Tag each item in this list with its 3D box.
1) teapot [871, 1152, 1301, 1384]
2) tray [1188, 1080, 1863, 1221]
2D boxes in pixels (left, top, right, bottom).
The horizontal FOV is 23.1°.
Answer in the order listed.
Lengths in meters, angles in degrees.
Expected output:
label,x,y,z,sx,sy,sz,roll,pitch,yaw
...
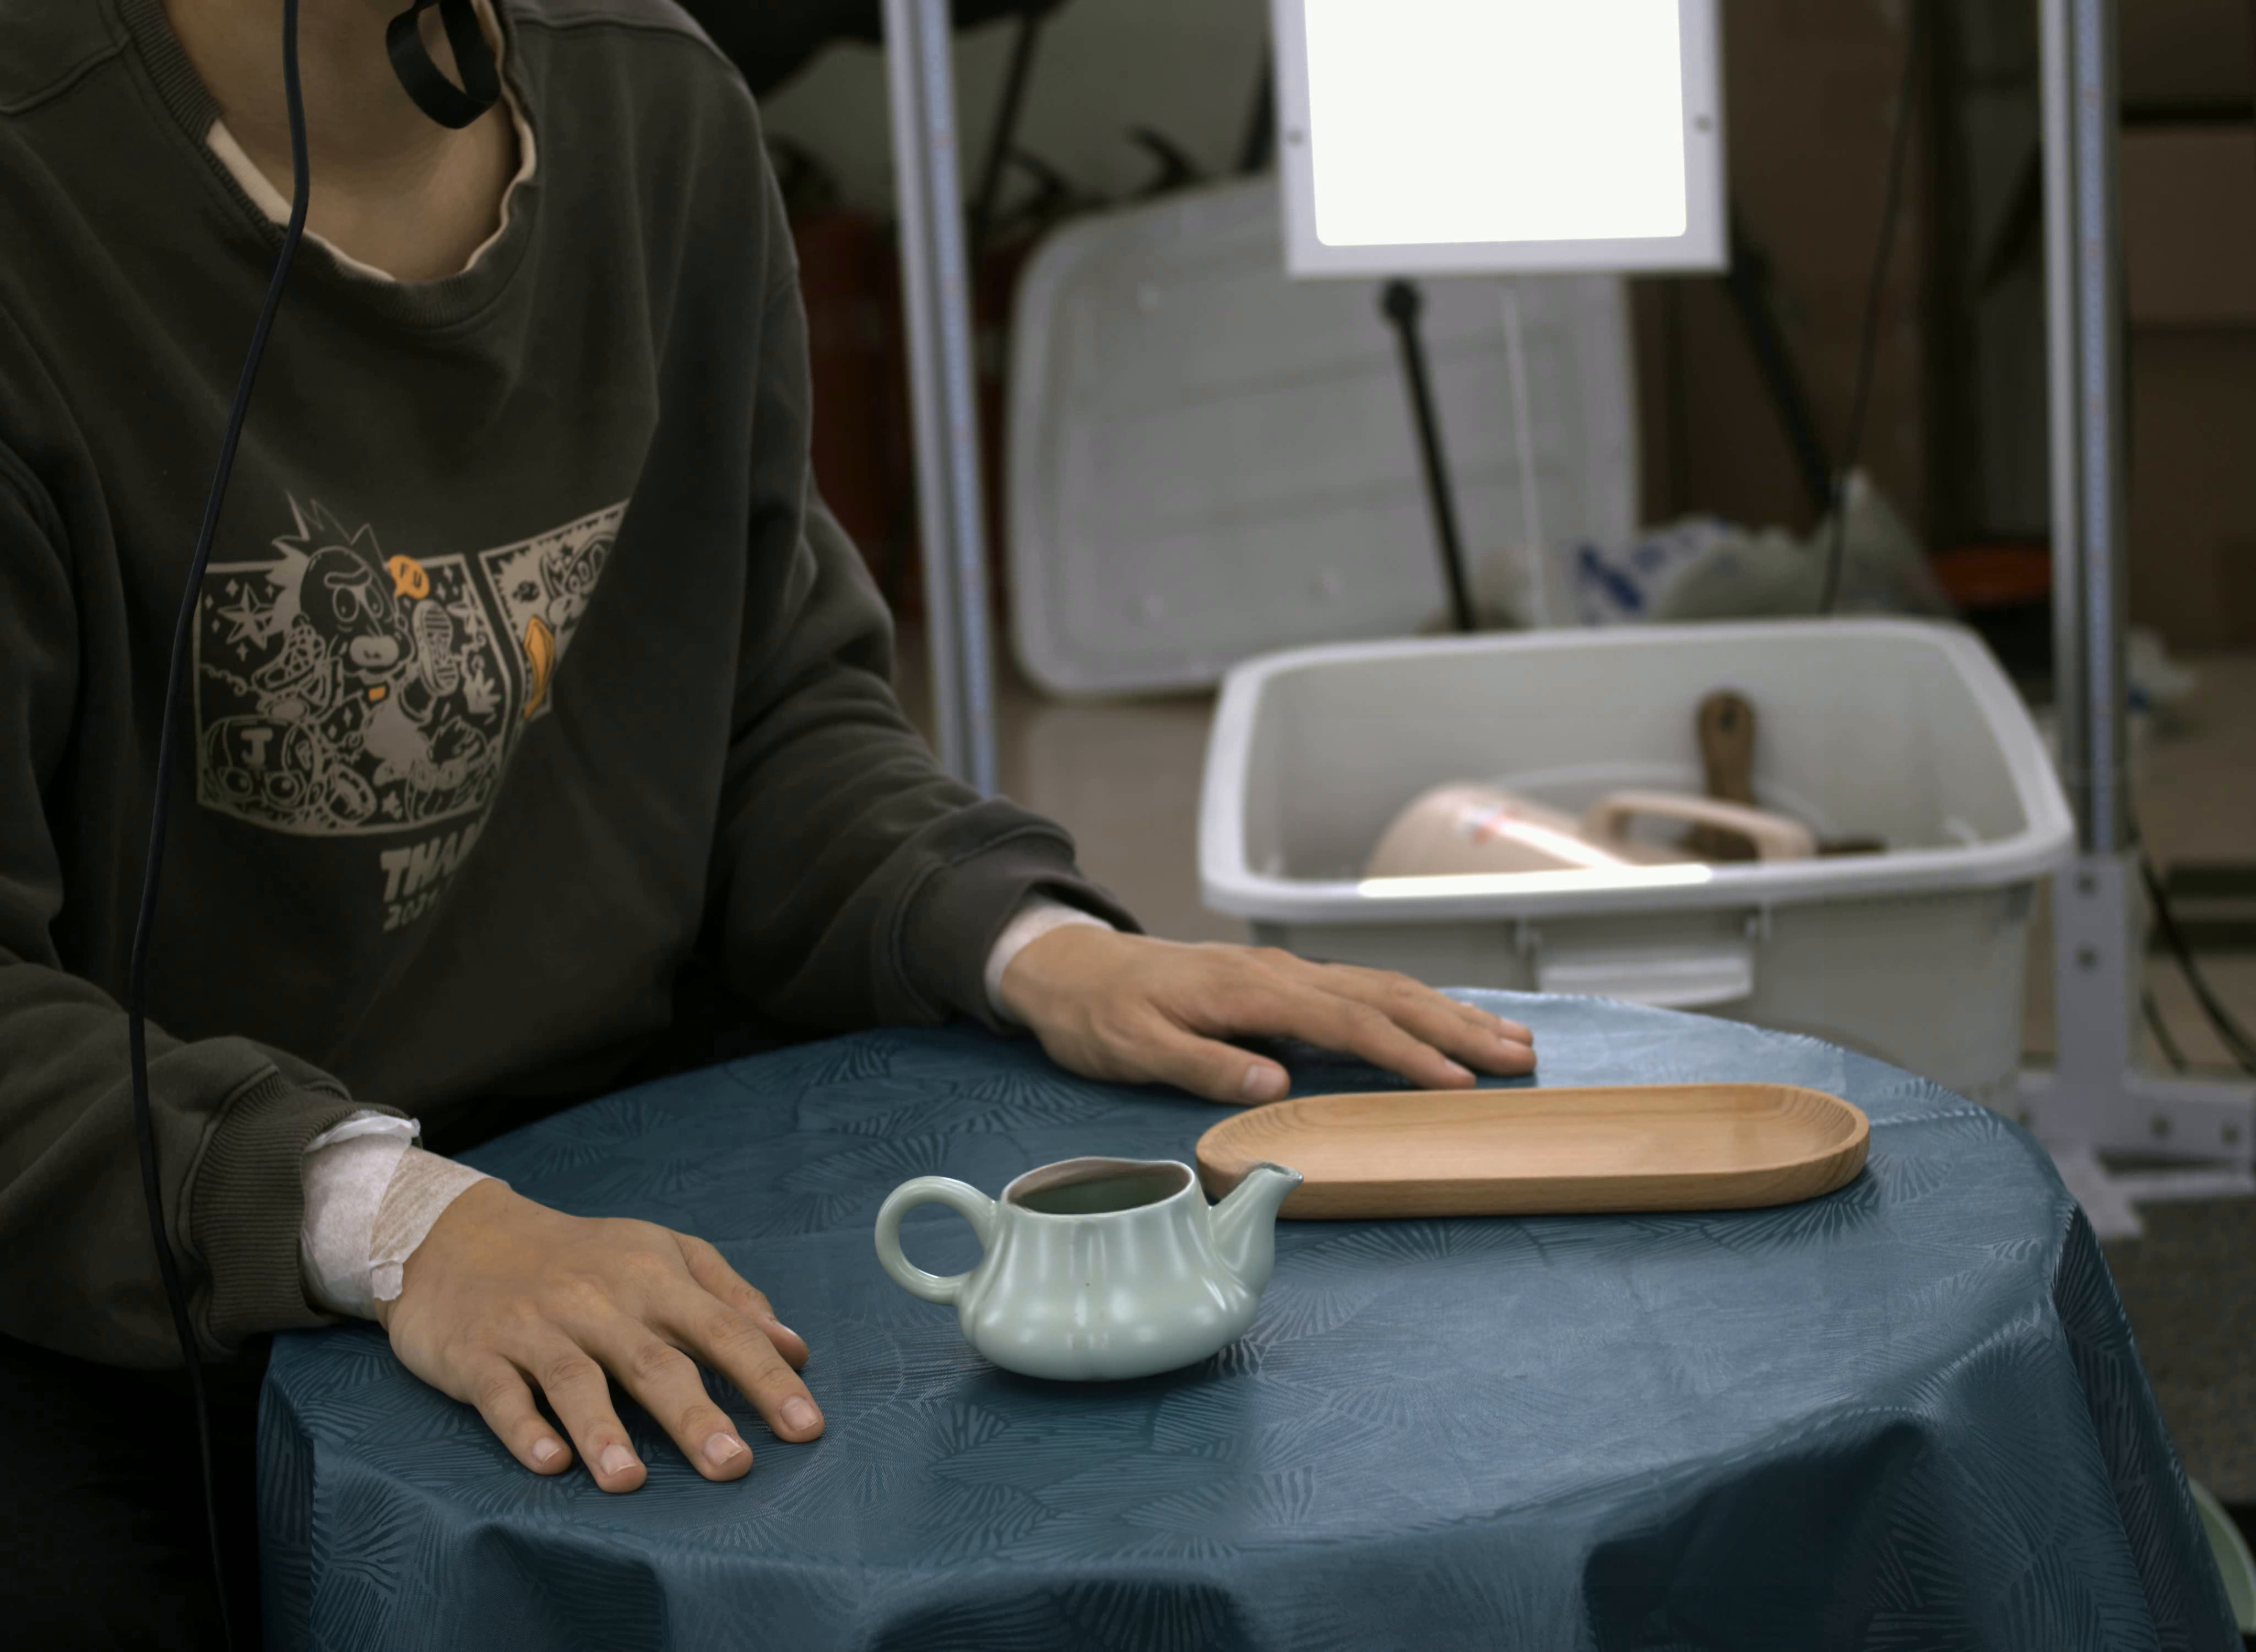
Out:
label,x,y,z,sx,sy,sz,roll,pitch,yaw
teapot,-0.012,0.138,1.730,0.137,0.061,0.095,-3,16,5
tray,0.136,0.111,1.874,0.232,0.020,0.100,-4,14,11
